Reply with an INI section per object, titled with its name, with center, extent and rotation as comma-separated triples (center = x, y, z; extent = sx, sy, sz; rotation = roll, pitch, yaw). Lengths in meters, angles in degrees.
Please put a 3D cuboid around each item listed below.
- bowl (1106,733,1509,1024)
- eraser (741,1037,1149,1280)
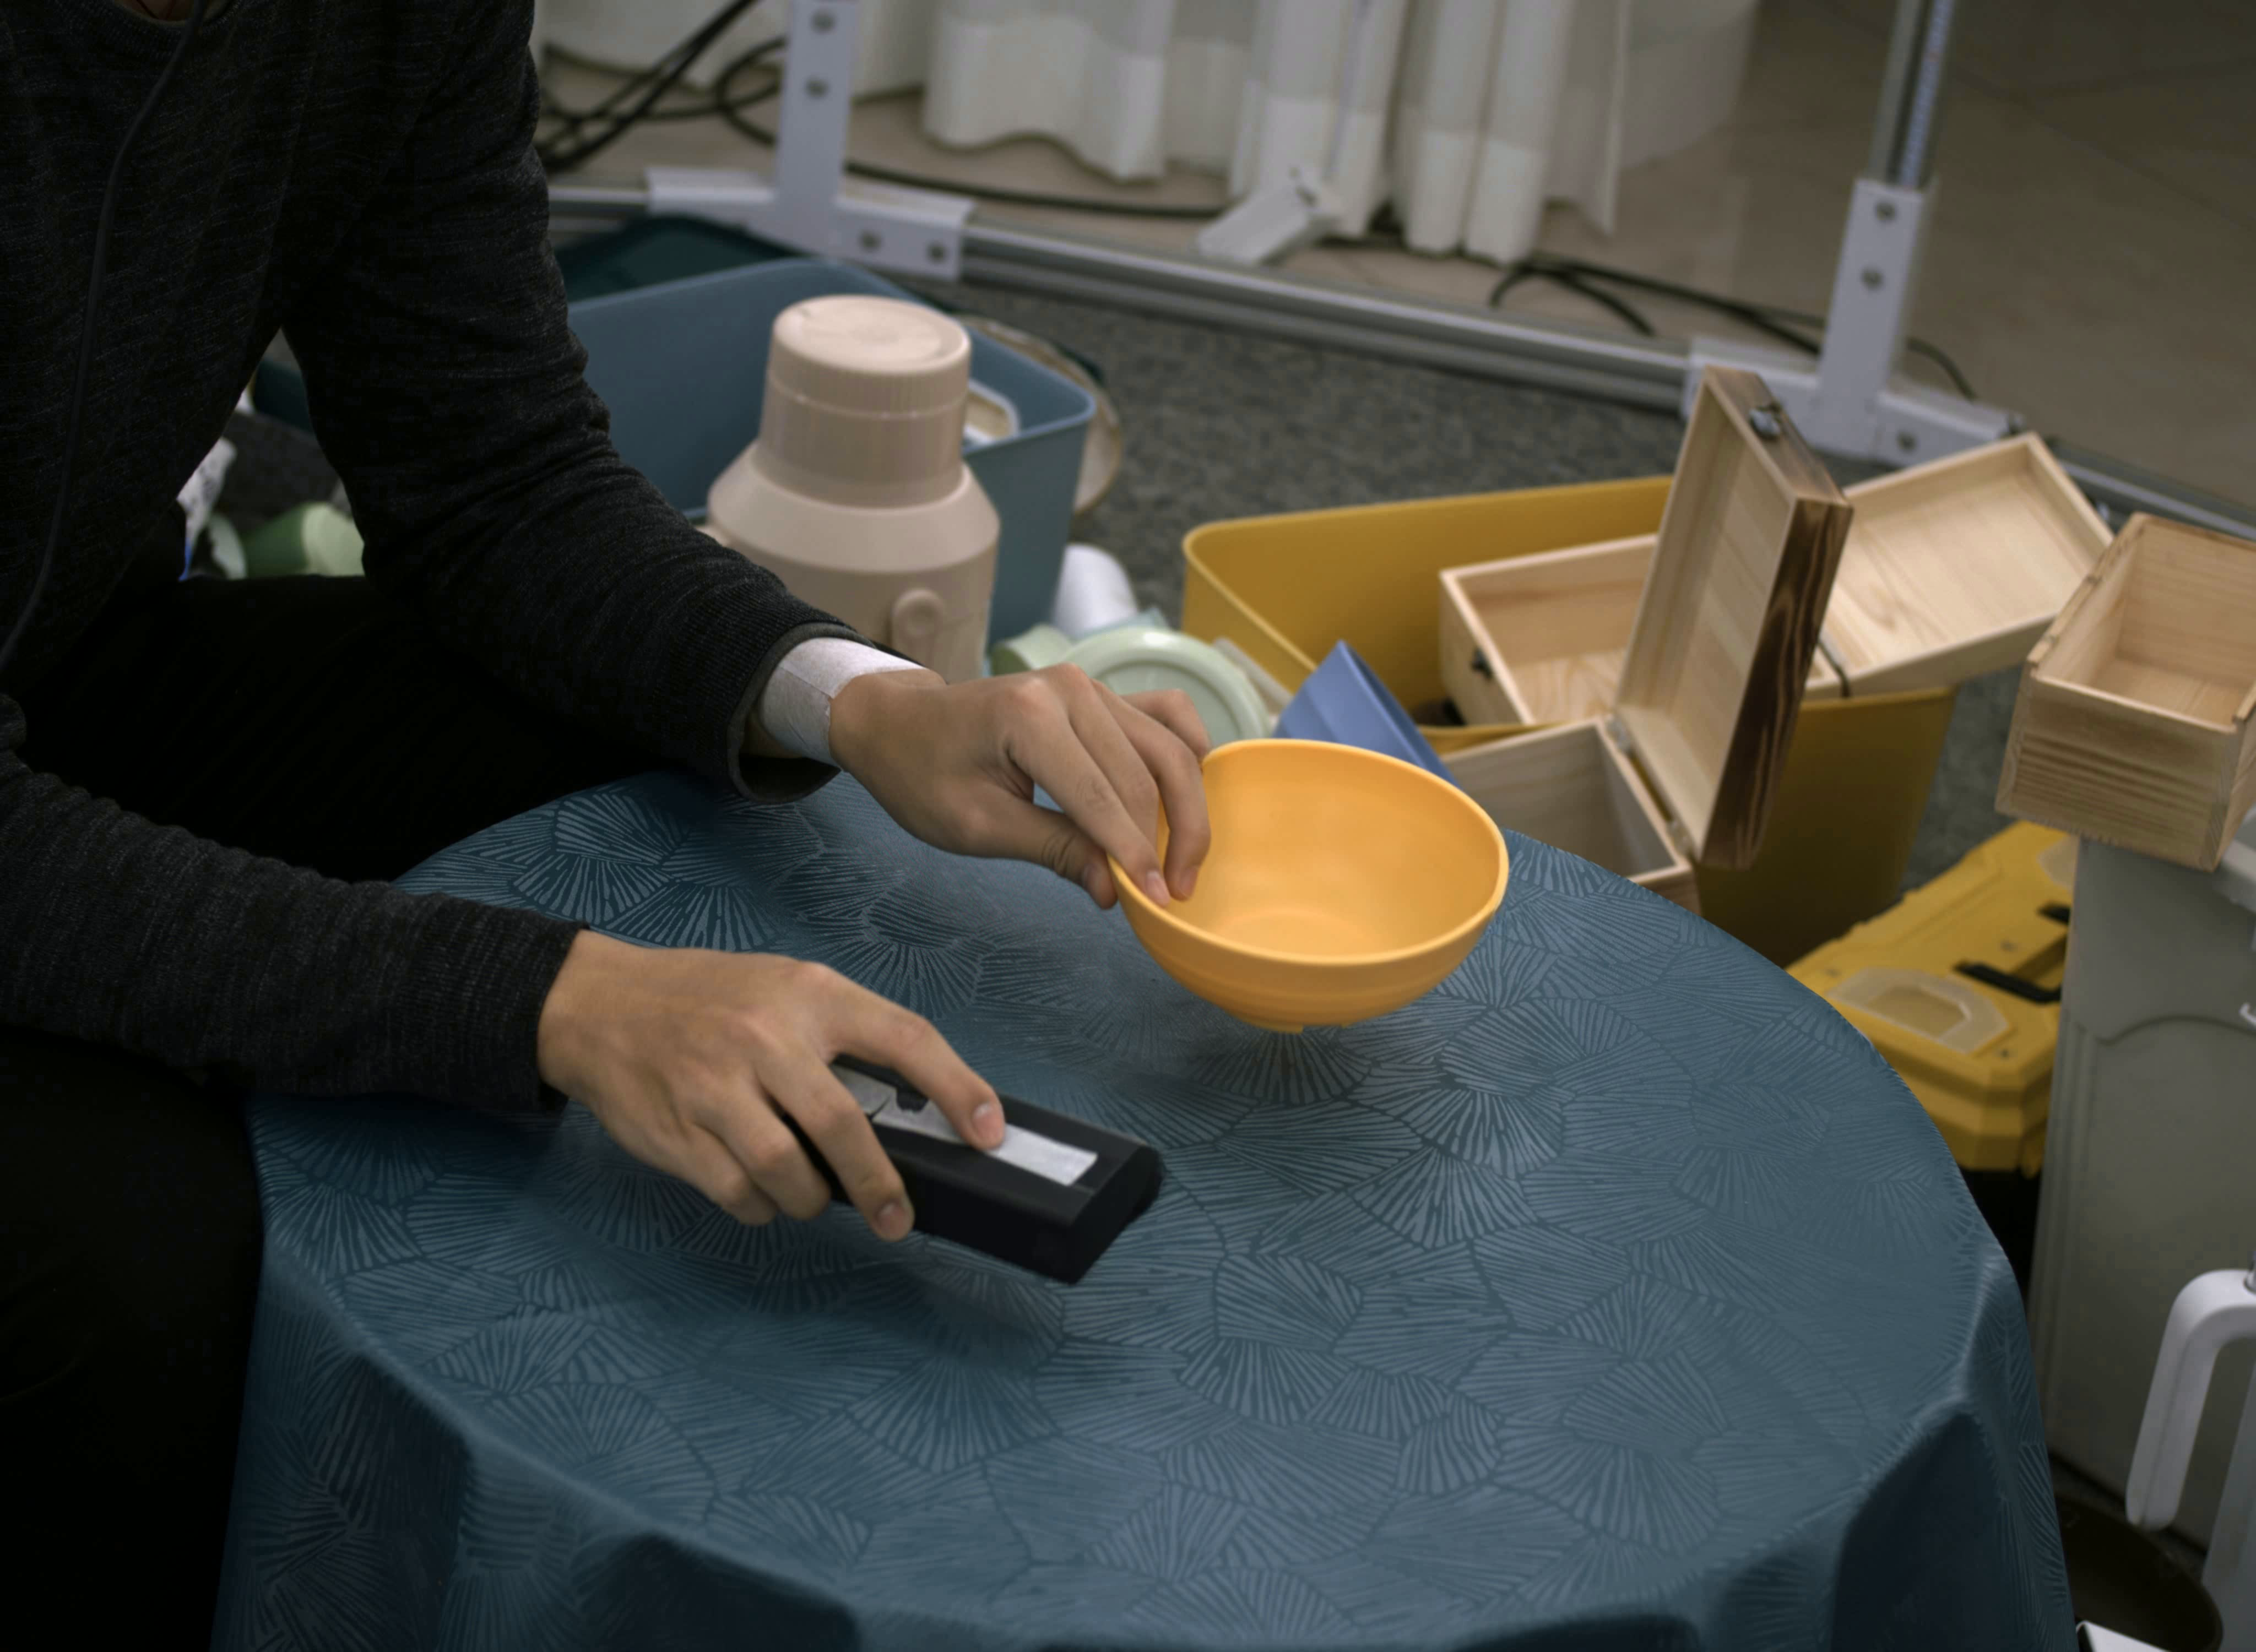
[bowl]
center = 0.061, 0.028, 1.892
extent = 0.145, 0.060, 0.146
rotation = 5, 32, -3
[eraser]
center = -0.059, 0.106, 1.717
extent = 0.126, 0.030, 0.053
rotation = 16, 35, 22
